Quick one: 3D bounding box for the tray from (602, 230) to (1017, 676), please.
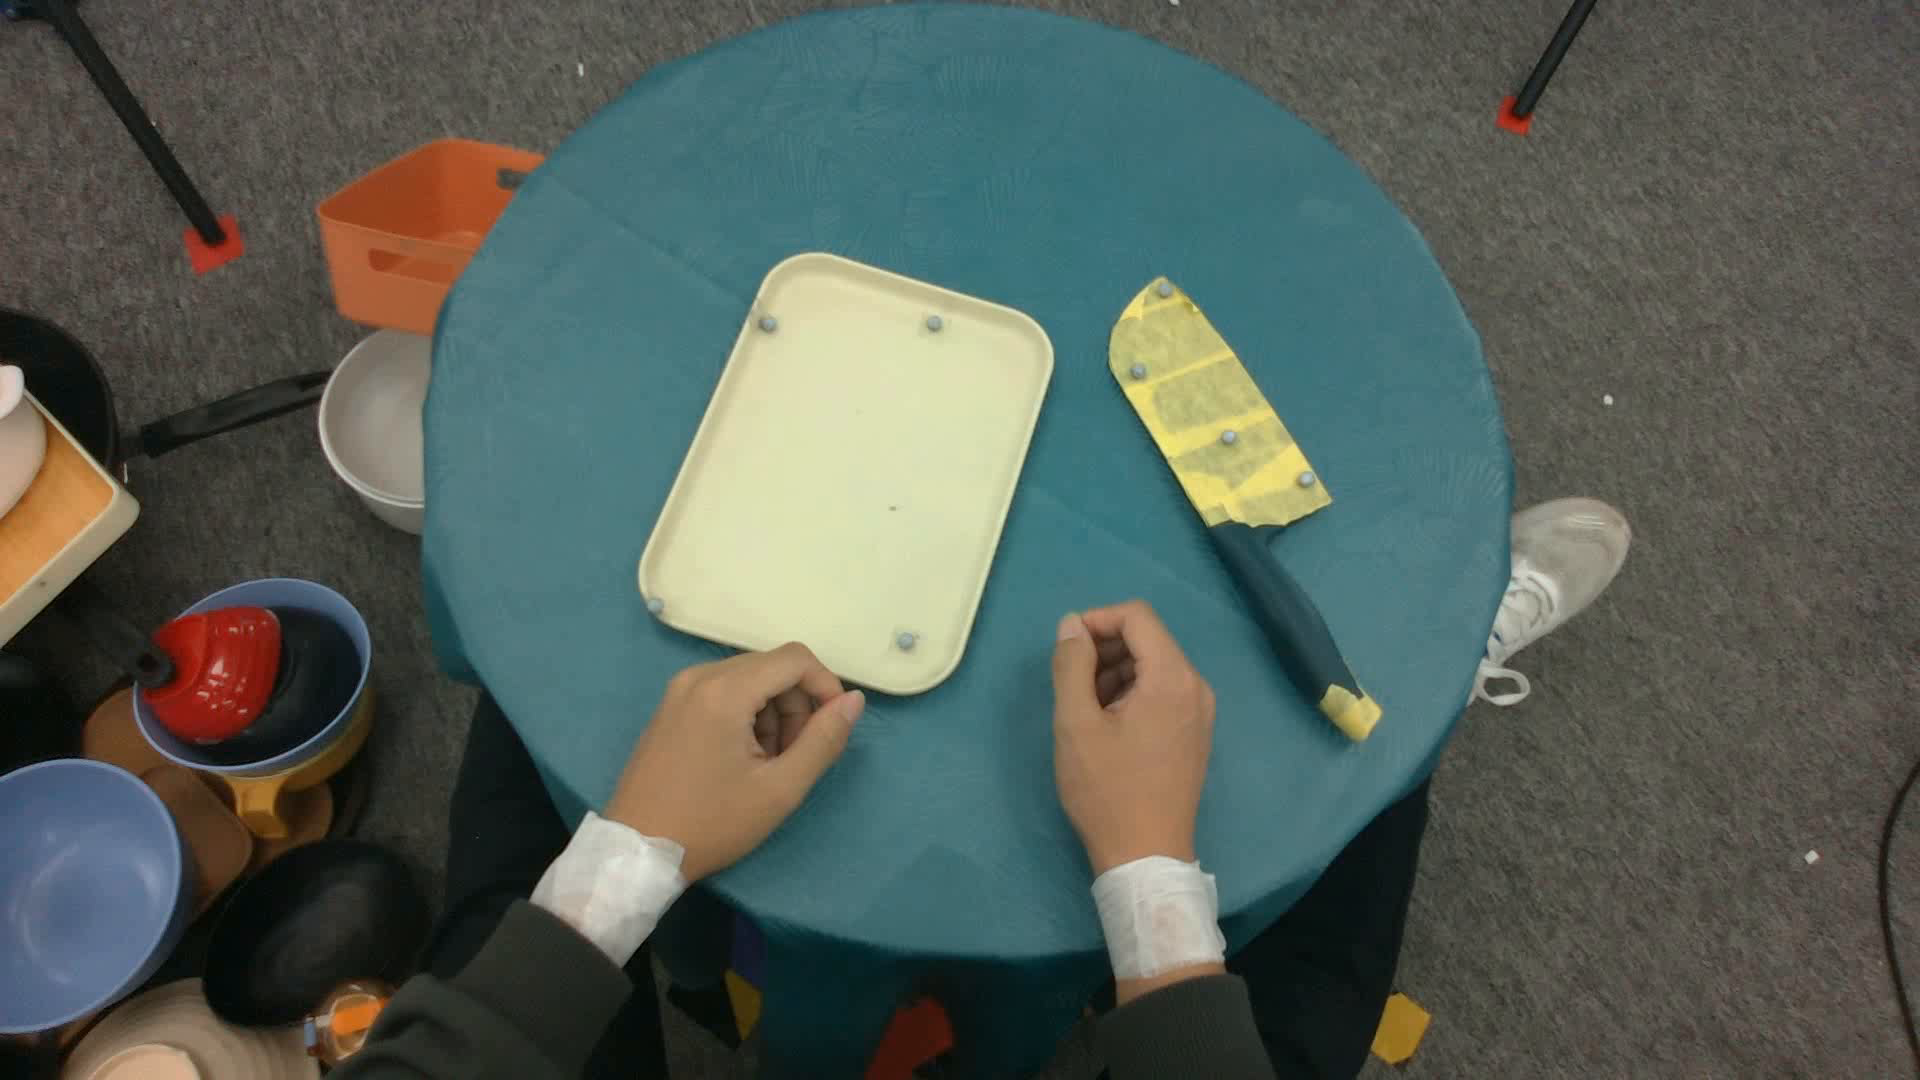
[{"bbox_3d":[-0.074,-0.051,0.731,0.171,0.017,0.240,17,65,0],"label":"tray"}]

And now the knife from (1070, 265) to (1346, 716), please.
[{"bbox_3d":[0.141,-0.038,0.754,0.081,0.027,0.290,-20,69,-14],"label":"knife"}]
